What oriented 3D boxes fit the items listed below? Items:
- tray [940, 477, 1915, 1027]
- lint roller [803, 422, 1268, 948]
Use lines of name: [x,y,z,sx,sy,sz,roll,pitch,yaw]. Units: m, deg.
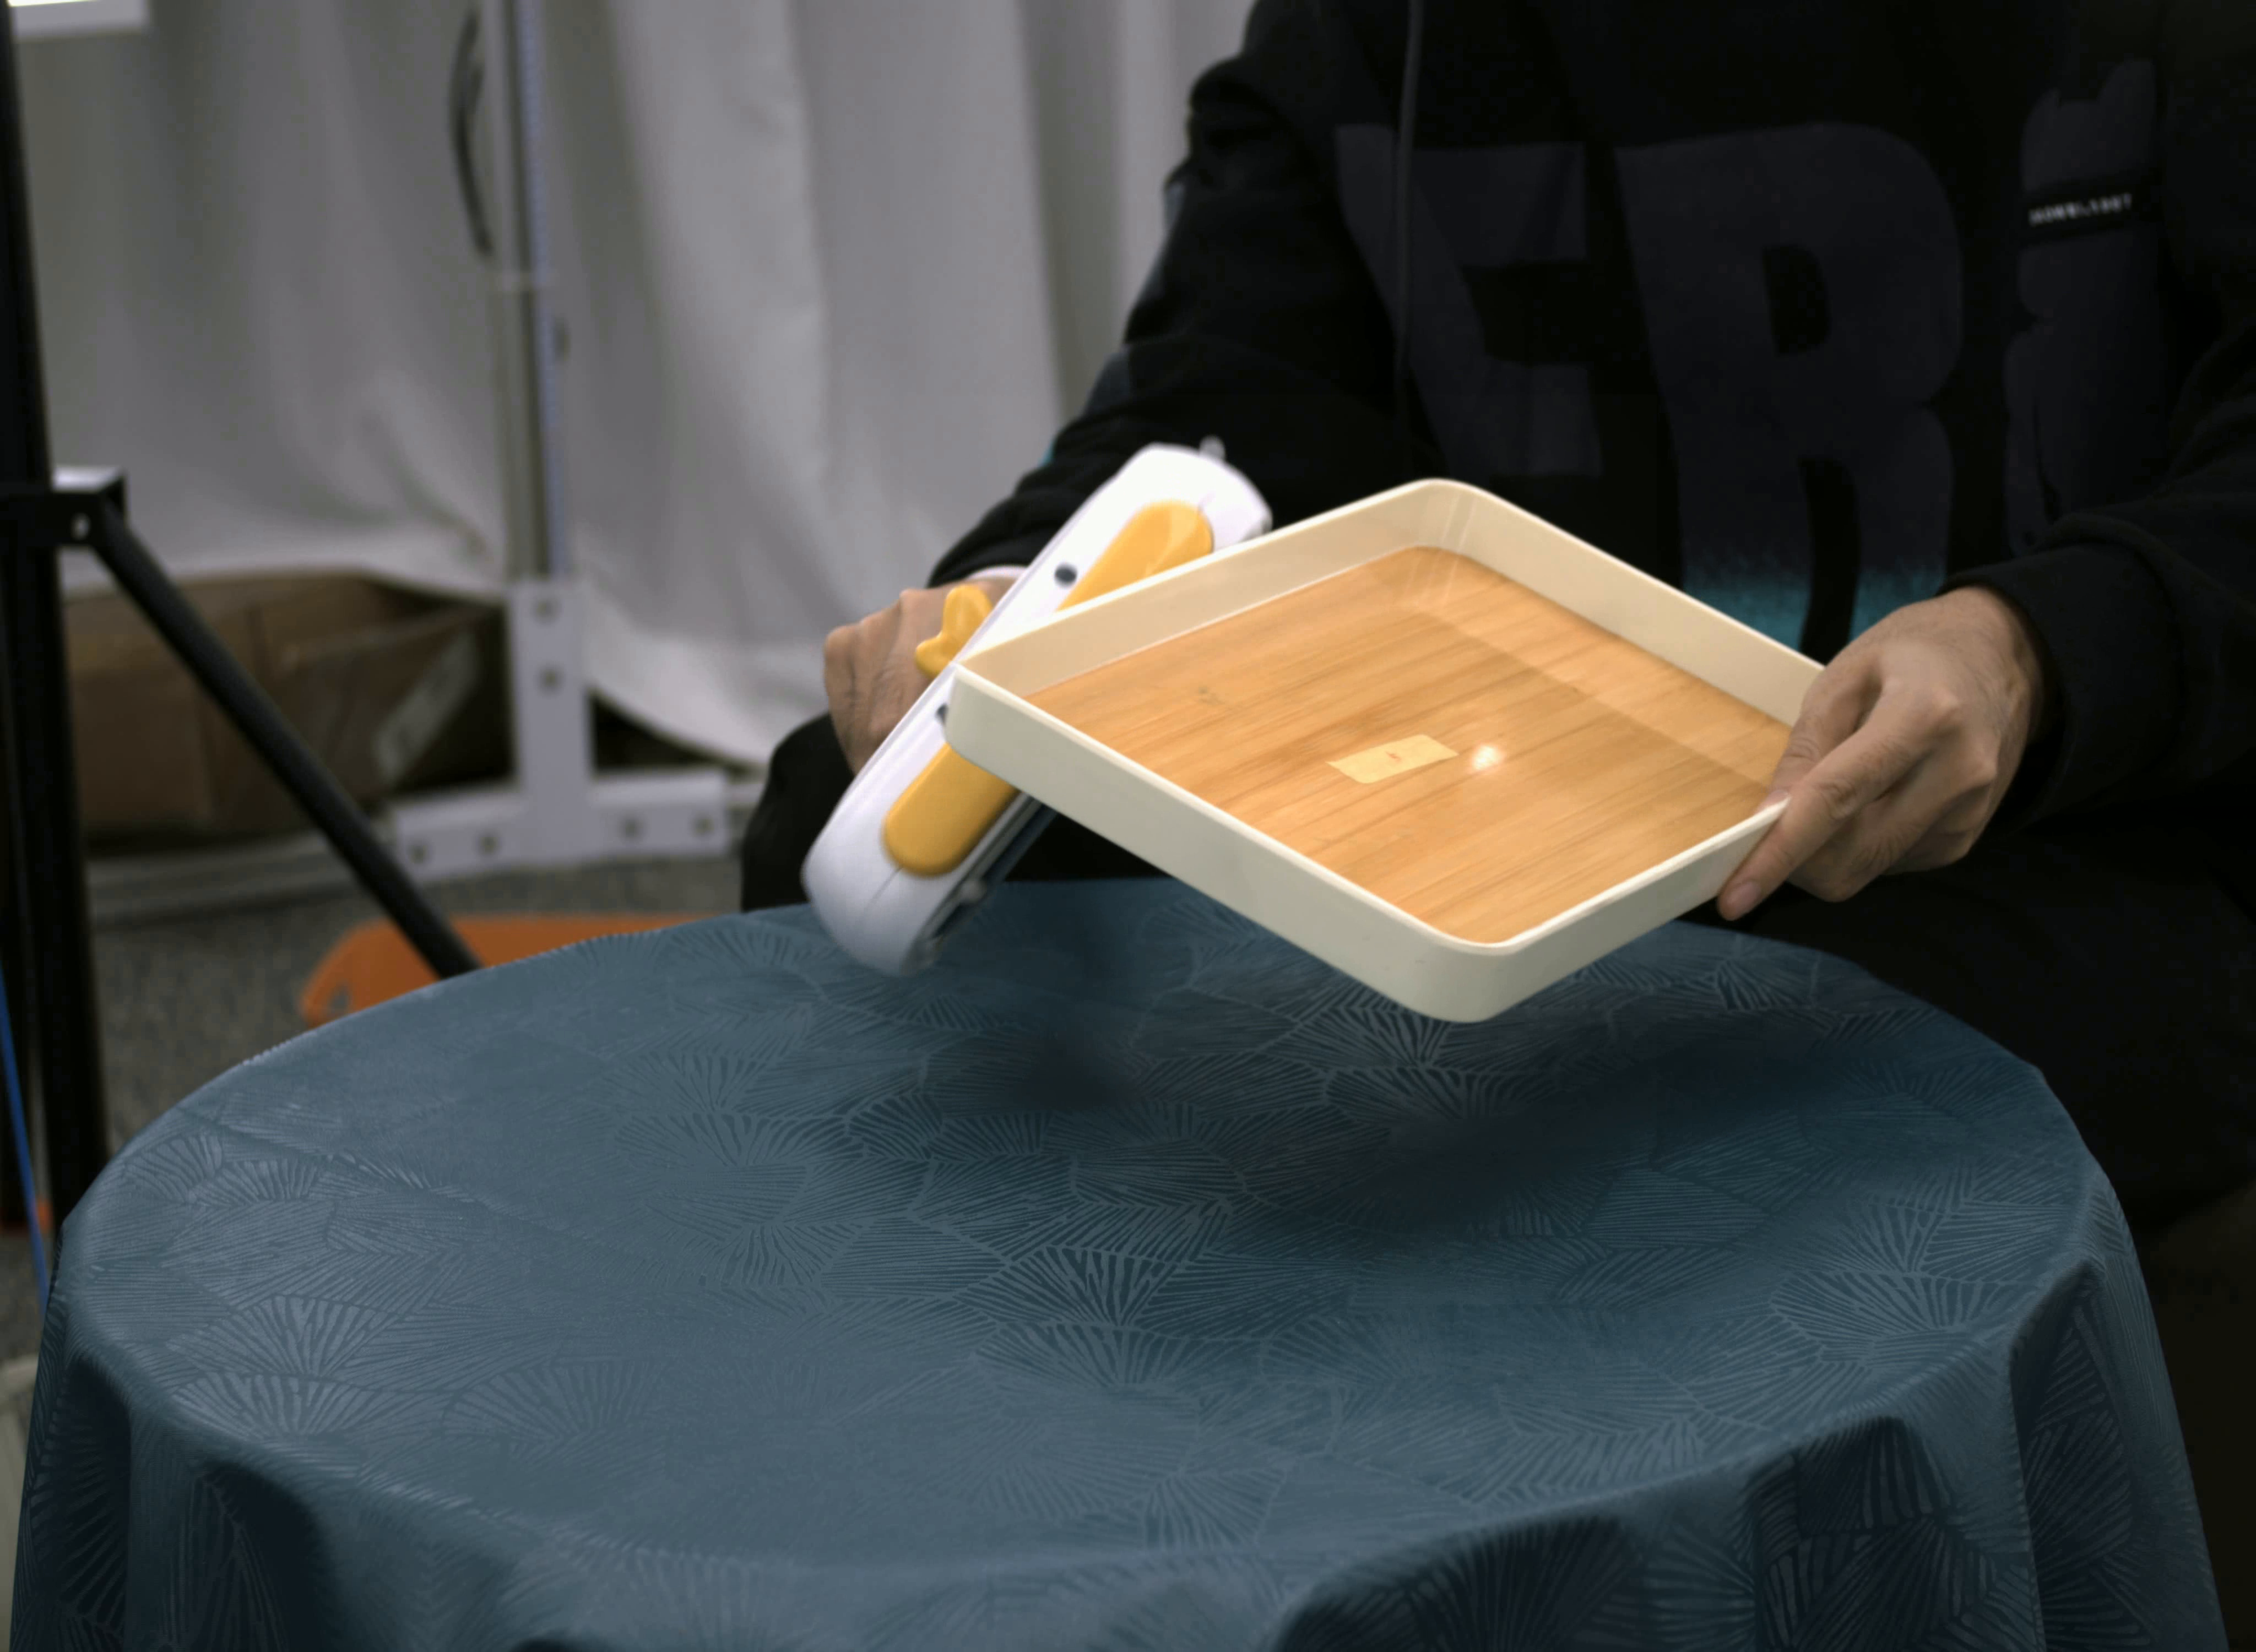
tray: [0.096,-0.028,1.589,0.195,0.027,0.294,30,28,25]
lint roller: [-0.045,-0.037,1.718,0.074,0.192,0.193,37,-16,-2]
